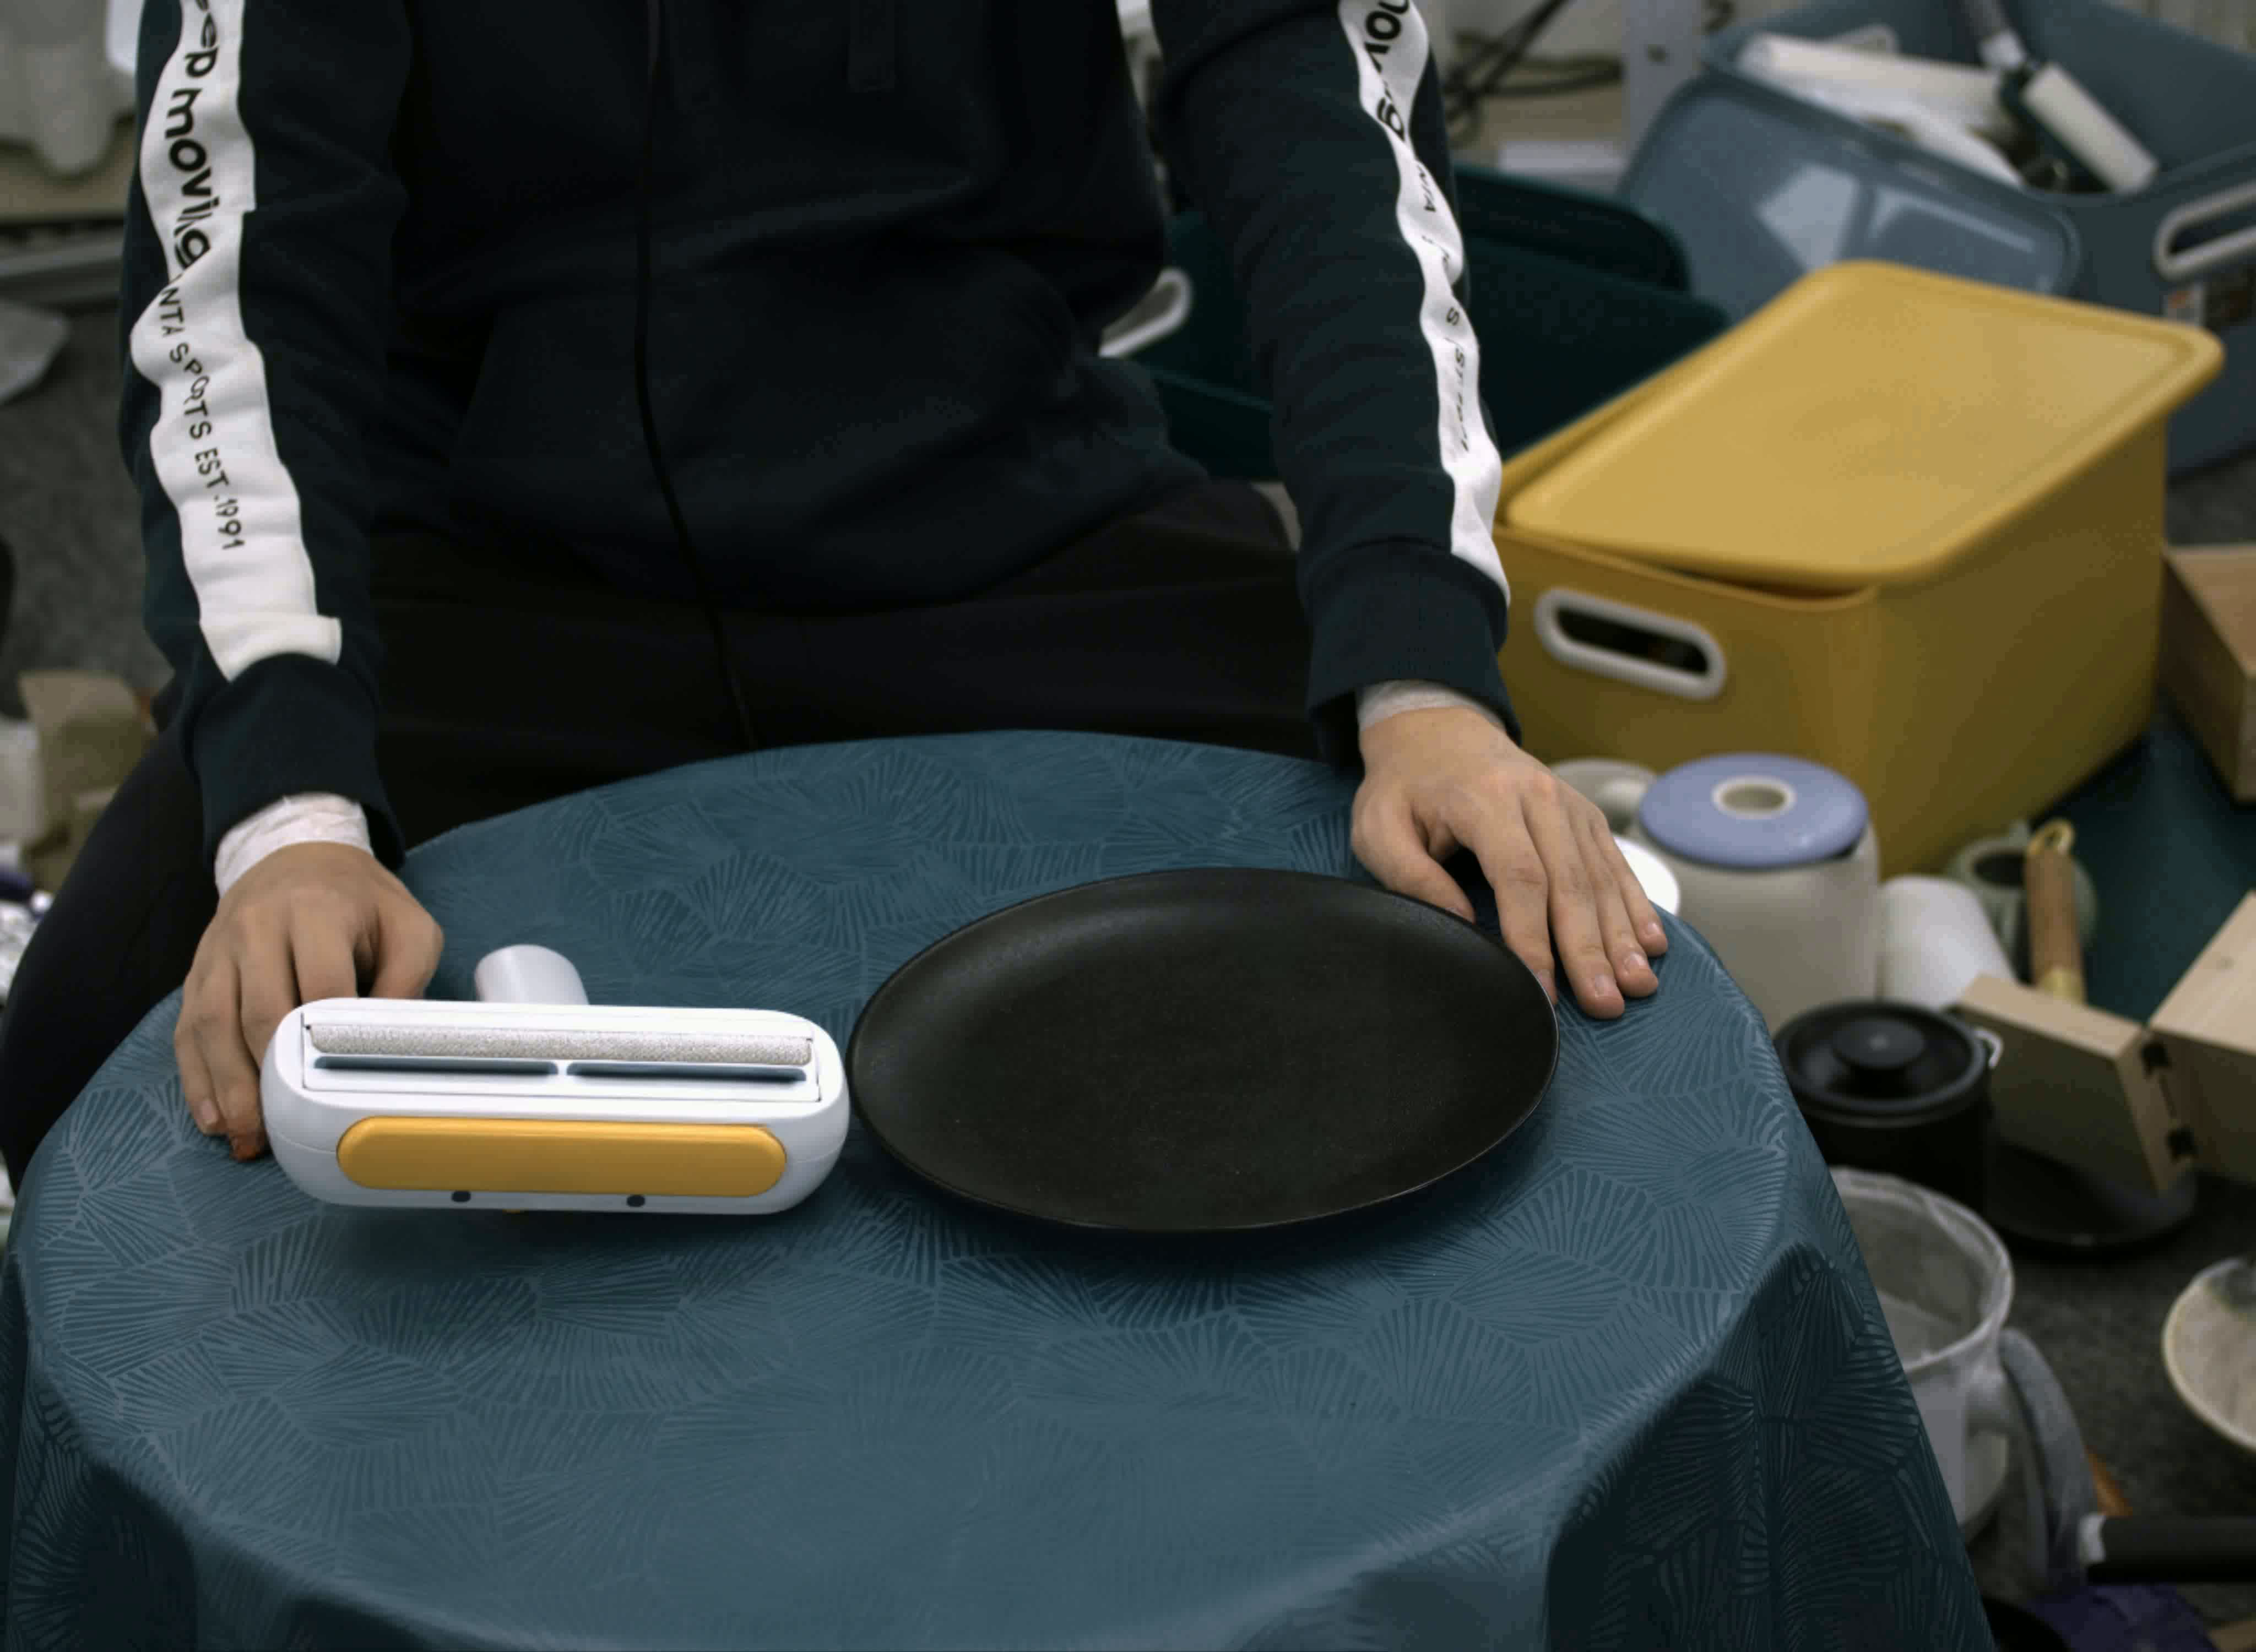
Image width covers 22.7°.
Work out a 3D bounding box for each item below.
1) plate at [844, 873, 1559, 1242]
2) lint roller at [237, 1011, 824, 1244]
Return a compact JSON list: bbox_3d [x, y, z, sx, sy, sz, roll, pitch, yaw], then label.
[{"bbox_3d":[0.025,0.083,1.909,0.243,0.023,0.248,-2,28,2],"label":"plate"},{"bbox_3d":[-0.200,0.092,1.904,0.192,0.074,0.193,2,12,-5],"label":"lint roller"}]
